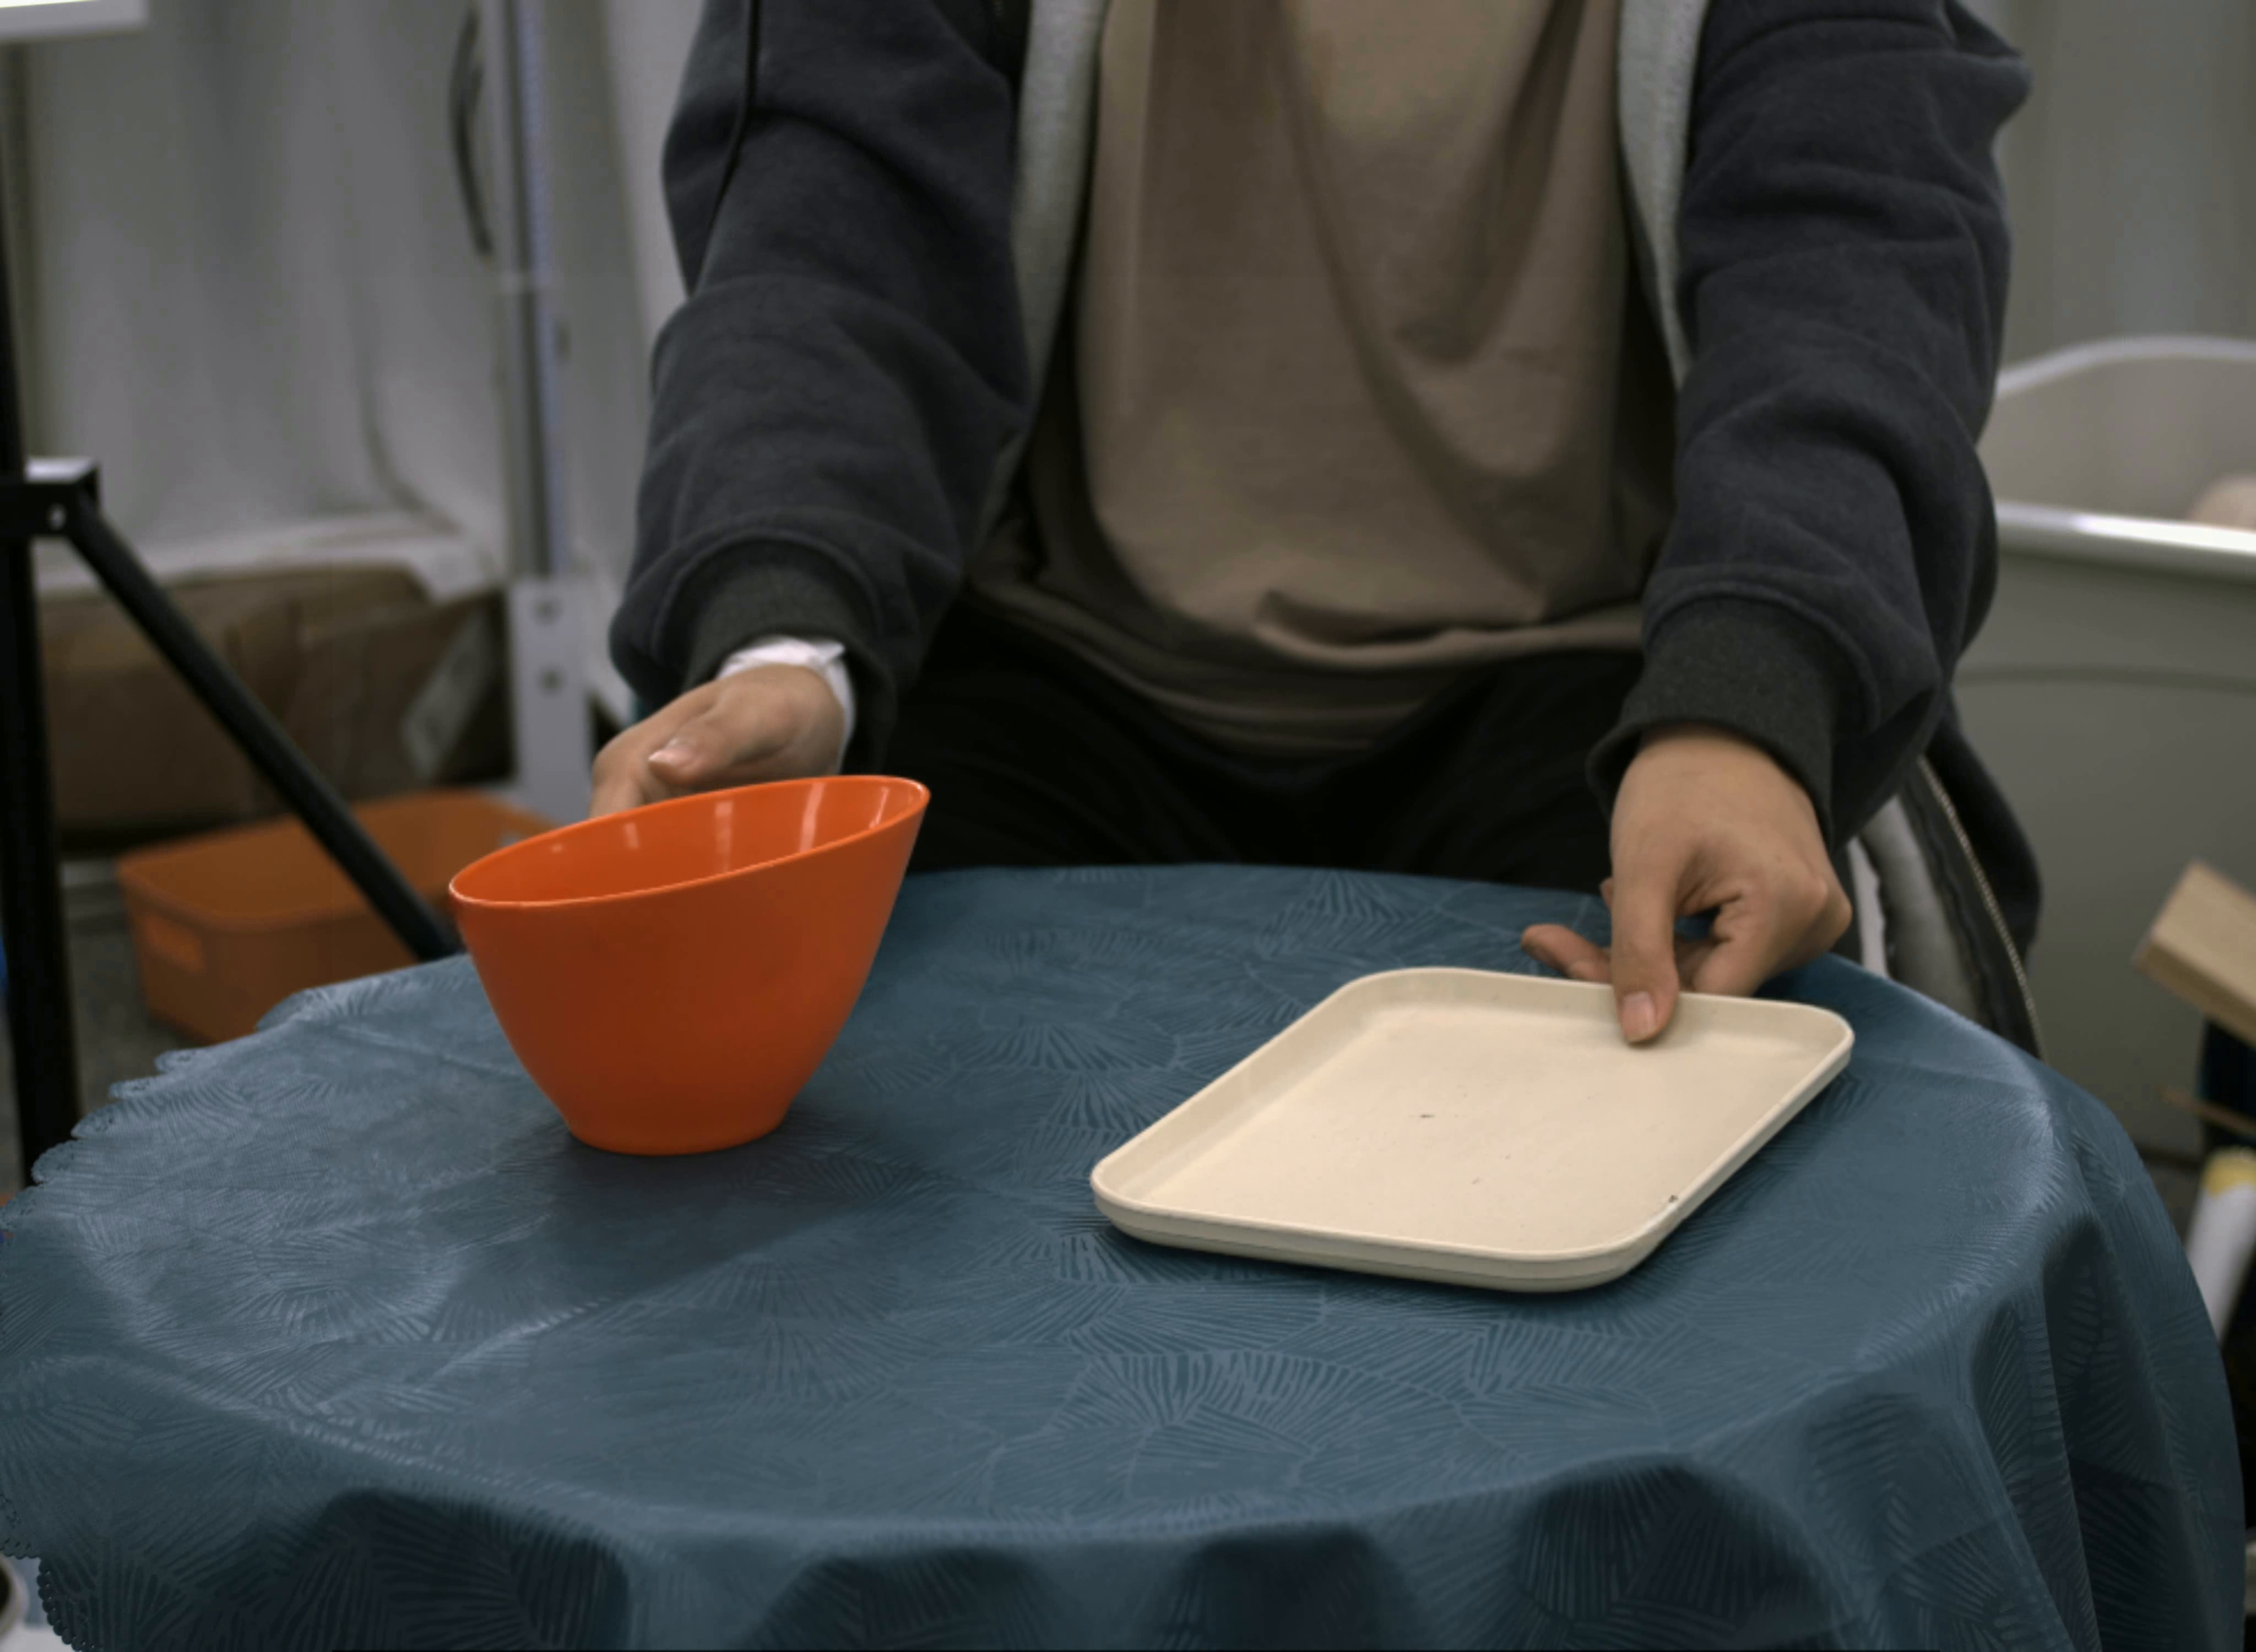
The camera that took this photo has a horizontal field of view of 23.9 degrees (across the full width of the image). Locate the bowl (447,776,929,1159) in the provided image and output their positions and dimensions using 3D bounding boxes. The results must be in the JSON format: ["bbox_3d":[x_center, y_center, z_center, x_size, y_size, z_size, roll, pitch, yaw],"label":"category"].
[{"bbox_3d":[-0.132,0.044,1.624,0.147,0.104,0.149,-3,16,-1],"label":"bowl"}]

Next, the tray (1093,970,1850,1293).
[{"bbox_3d":[0.106,0.089,1.576,0.174,0.017,0.236,5,17,26],"label":"tray"}]
